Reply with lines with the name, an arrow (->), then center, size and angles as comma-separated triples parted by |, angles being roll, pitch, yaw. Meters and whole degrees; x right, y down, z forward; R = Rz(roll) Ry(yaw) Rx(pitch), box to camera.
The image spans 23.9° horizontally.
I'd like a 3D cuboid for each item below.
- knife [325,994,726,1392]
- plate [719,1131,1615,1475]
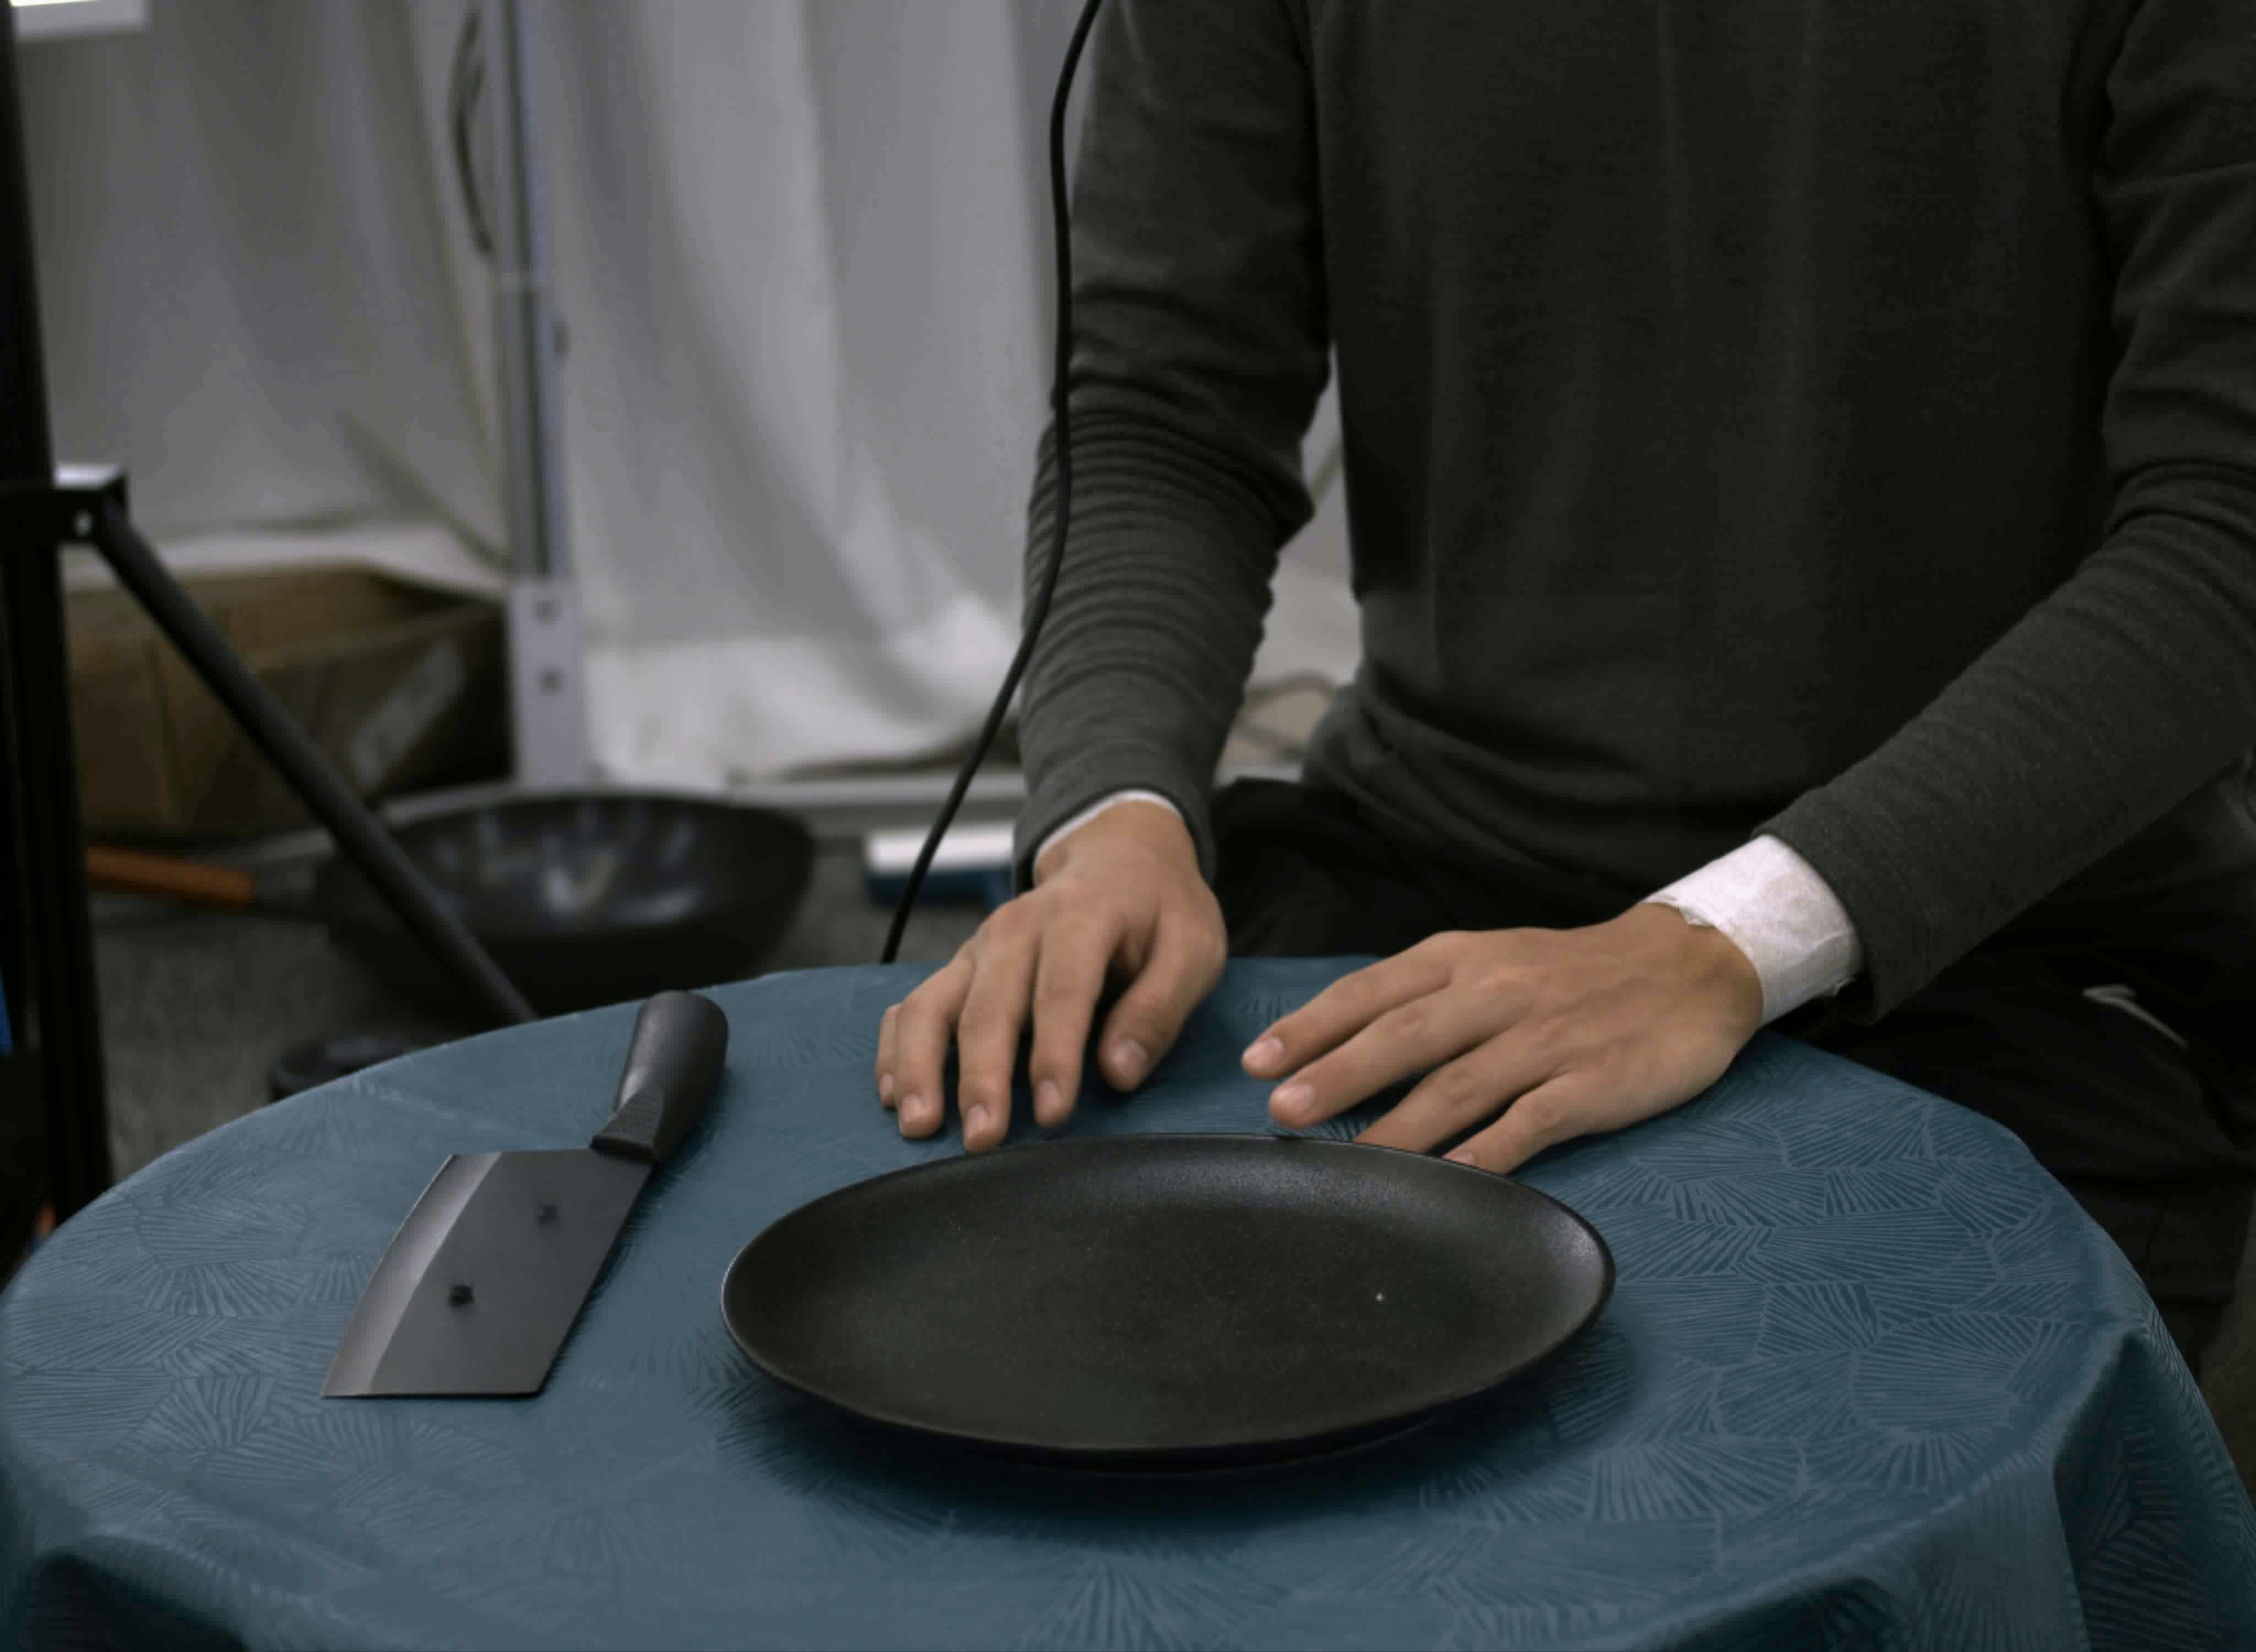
knife -> -0.170, 0.107, 1.569 | 0.081, 0.021, 0.301 | -1, 17, 11
plate -> 0.011, 0.131, 1.435 | 0.243, 0.023, 0.245 | -2, 16, -1
